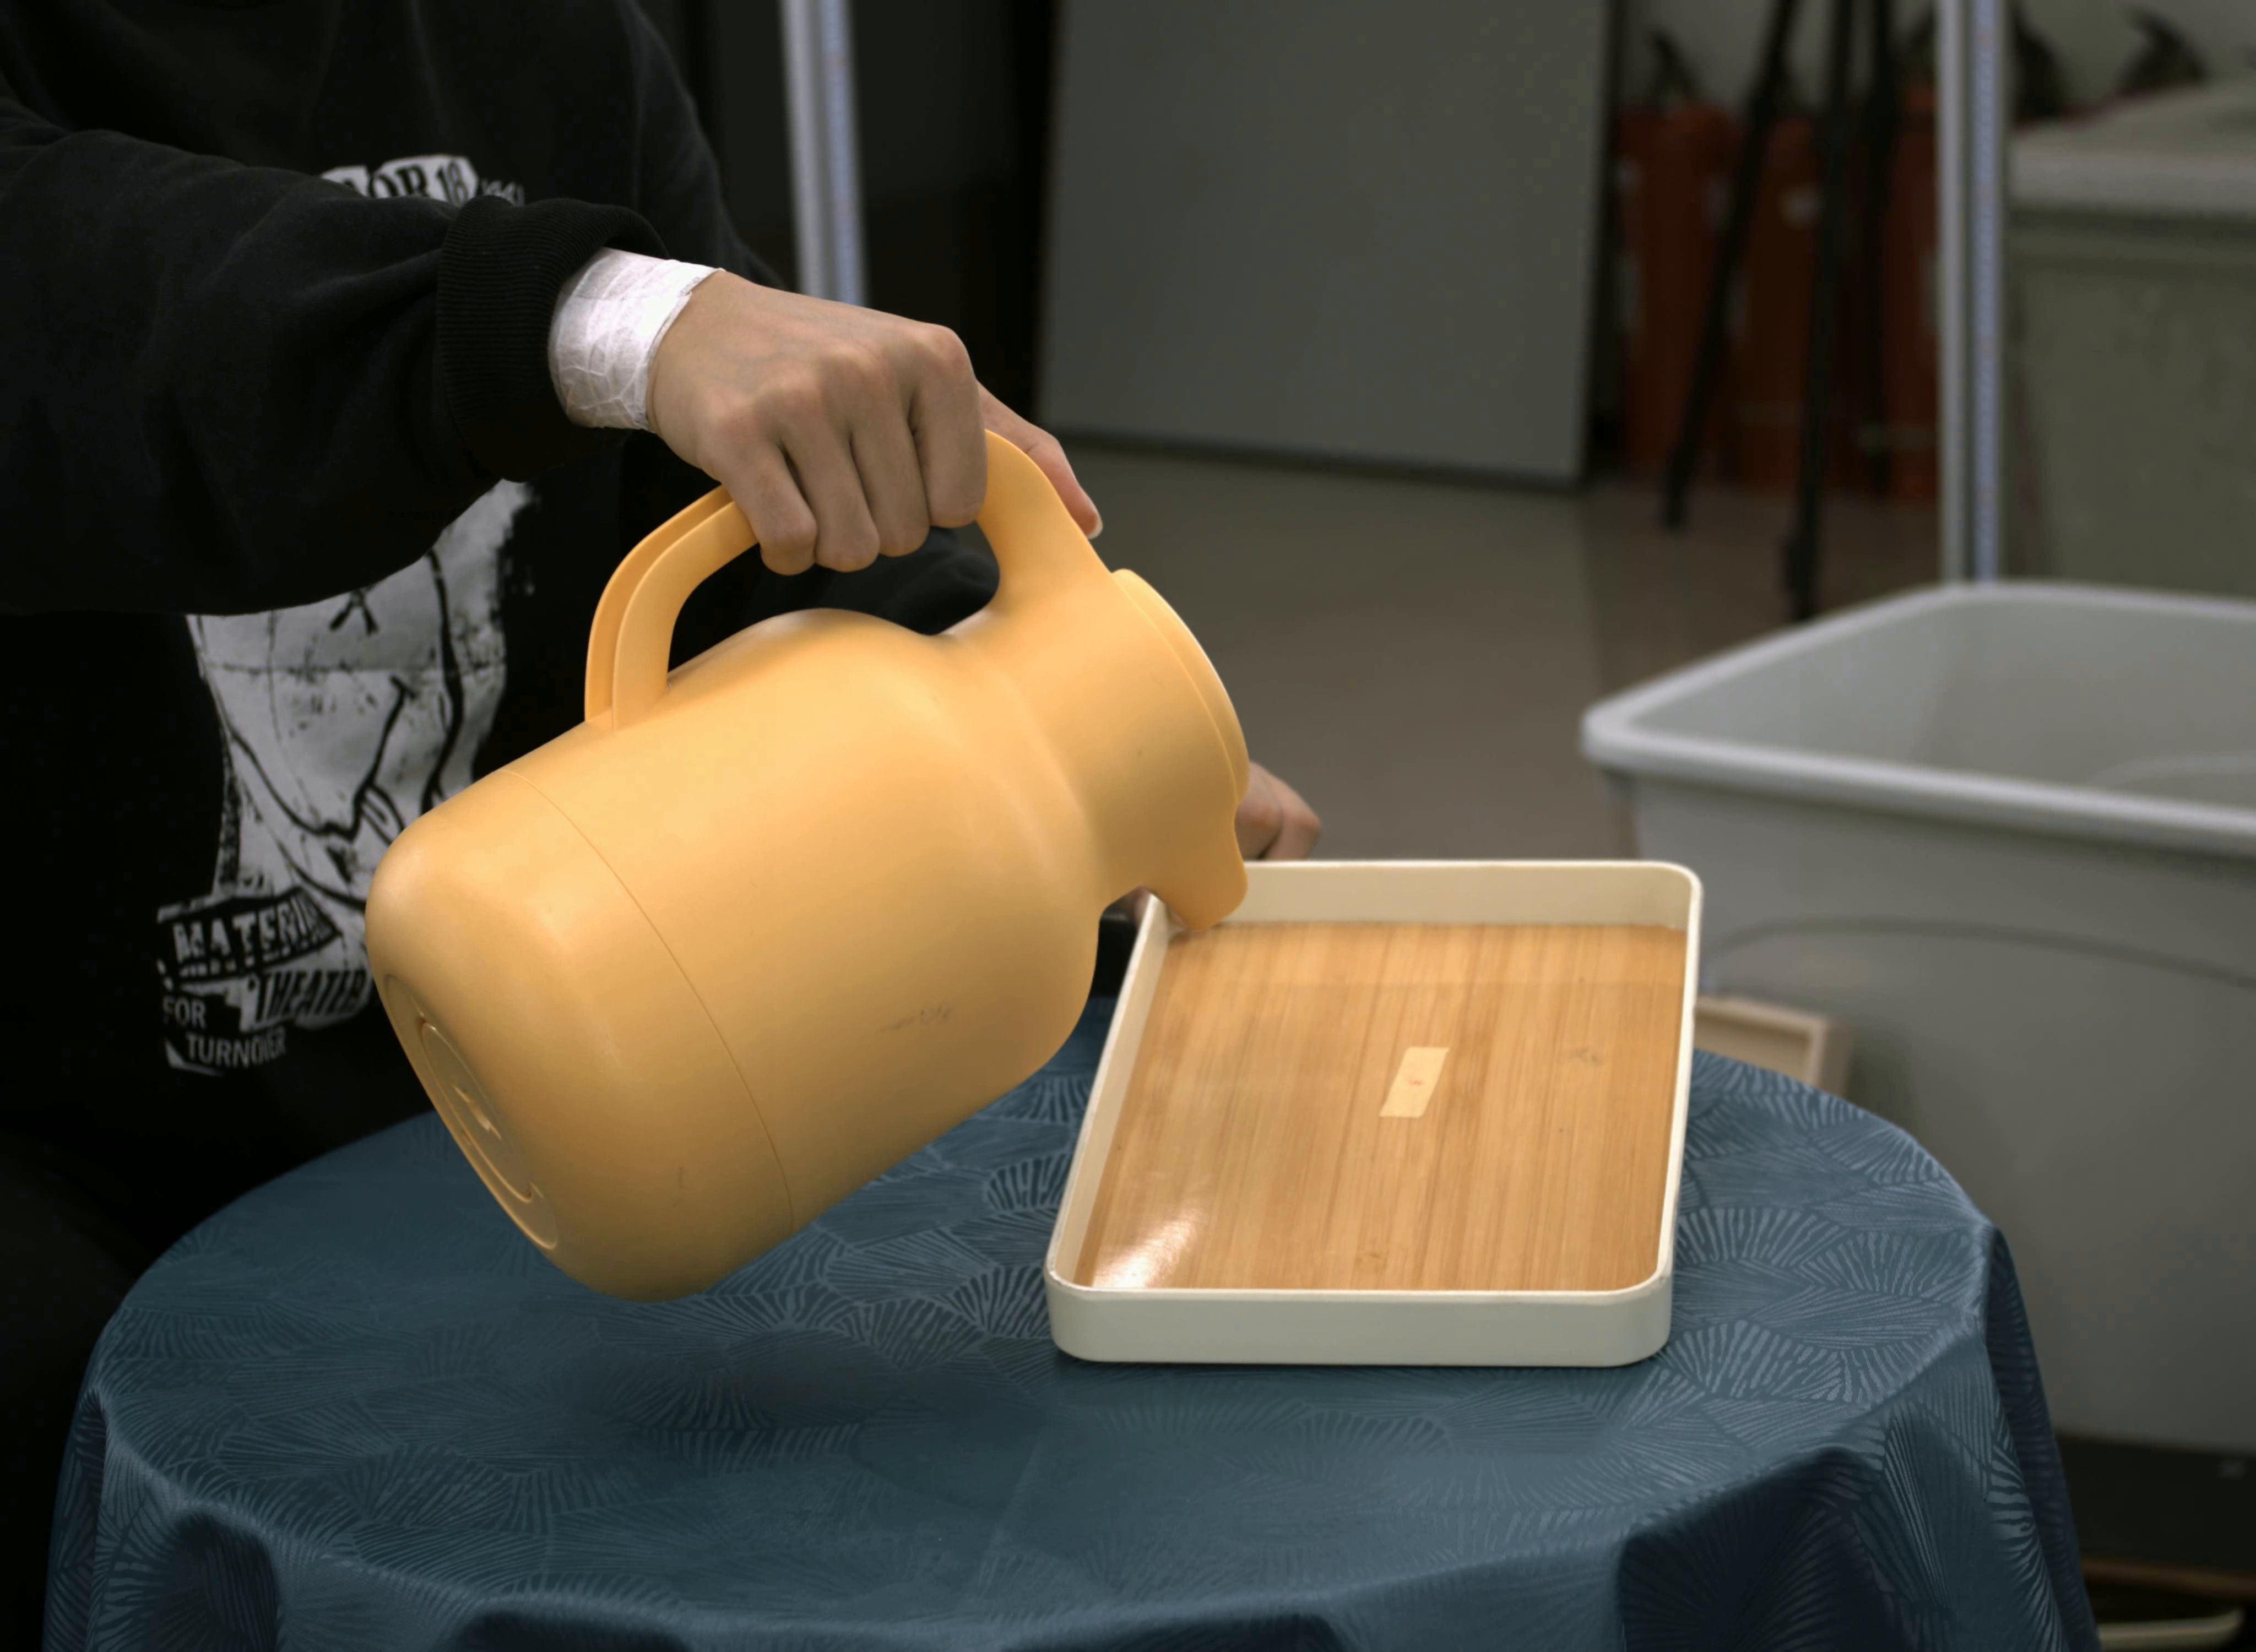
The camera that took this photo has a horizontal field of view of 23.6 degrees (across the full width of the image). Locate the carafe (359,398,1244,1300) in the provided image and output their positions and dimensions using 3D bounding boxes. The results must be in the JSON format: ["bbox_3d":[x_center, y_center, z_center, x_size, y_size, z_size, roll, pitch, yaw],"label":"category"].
[{"bbox_3d":[-0.098,-0.002,1.599,0.257,0.203,0.165,-31,15,-18],"label":"carafe"}]

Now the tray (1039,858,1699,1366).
[{"bbox_3d":[0.084,0.086,1.721,0.190,0.027,0.300,-1,25,10],"label":"tray"}]
